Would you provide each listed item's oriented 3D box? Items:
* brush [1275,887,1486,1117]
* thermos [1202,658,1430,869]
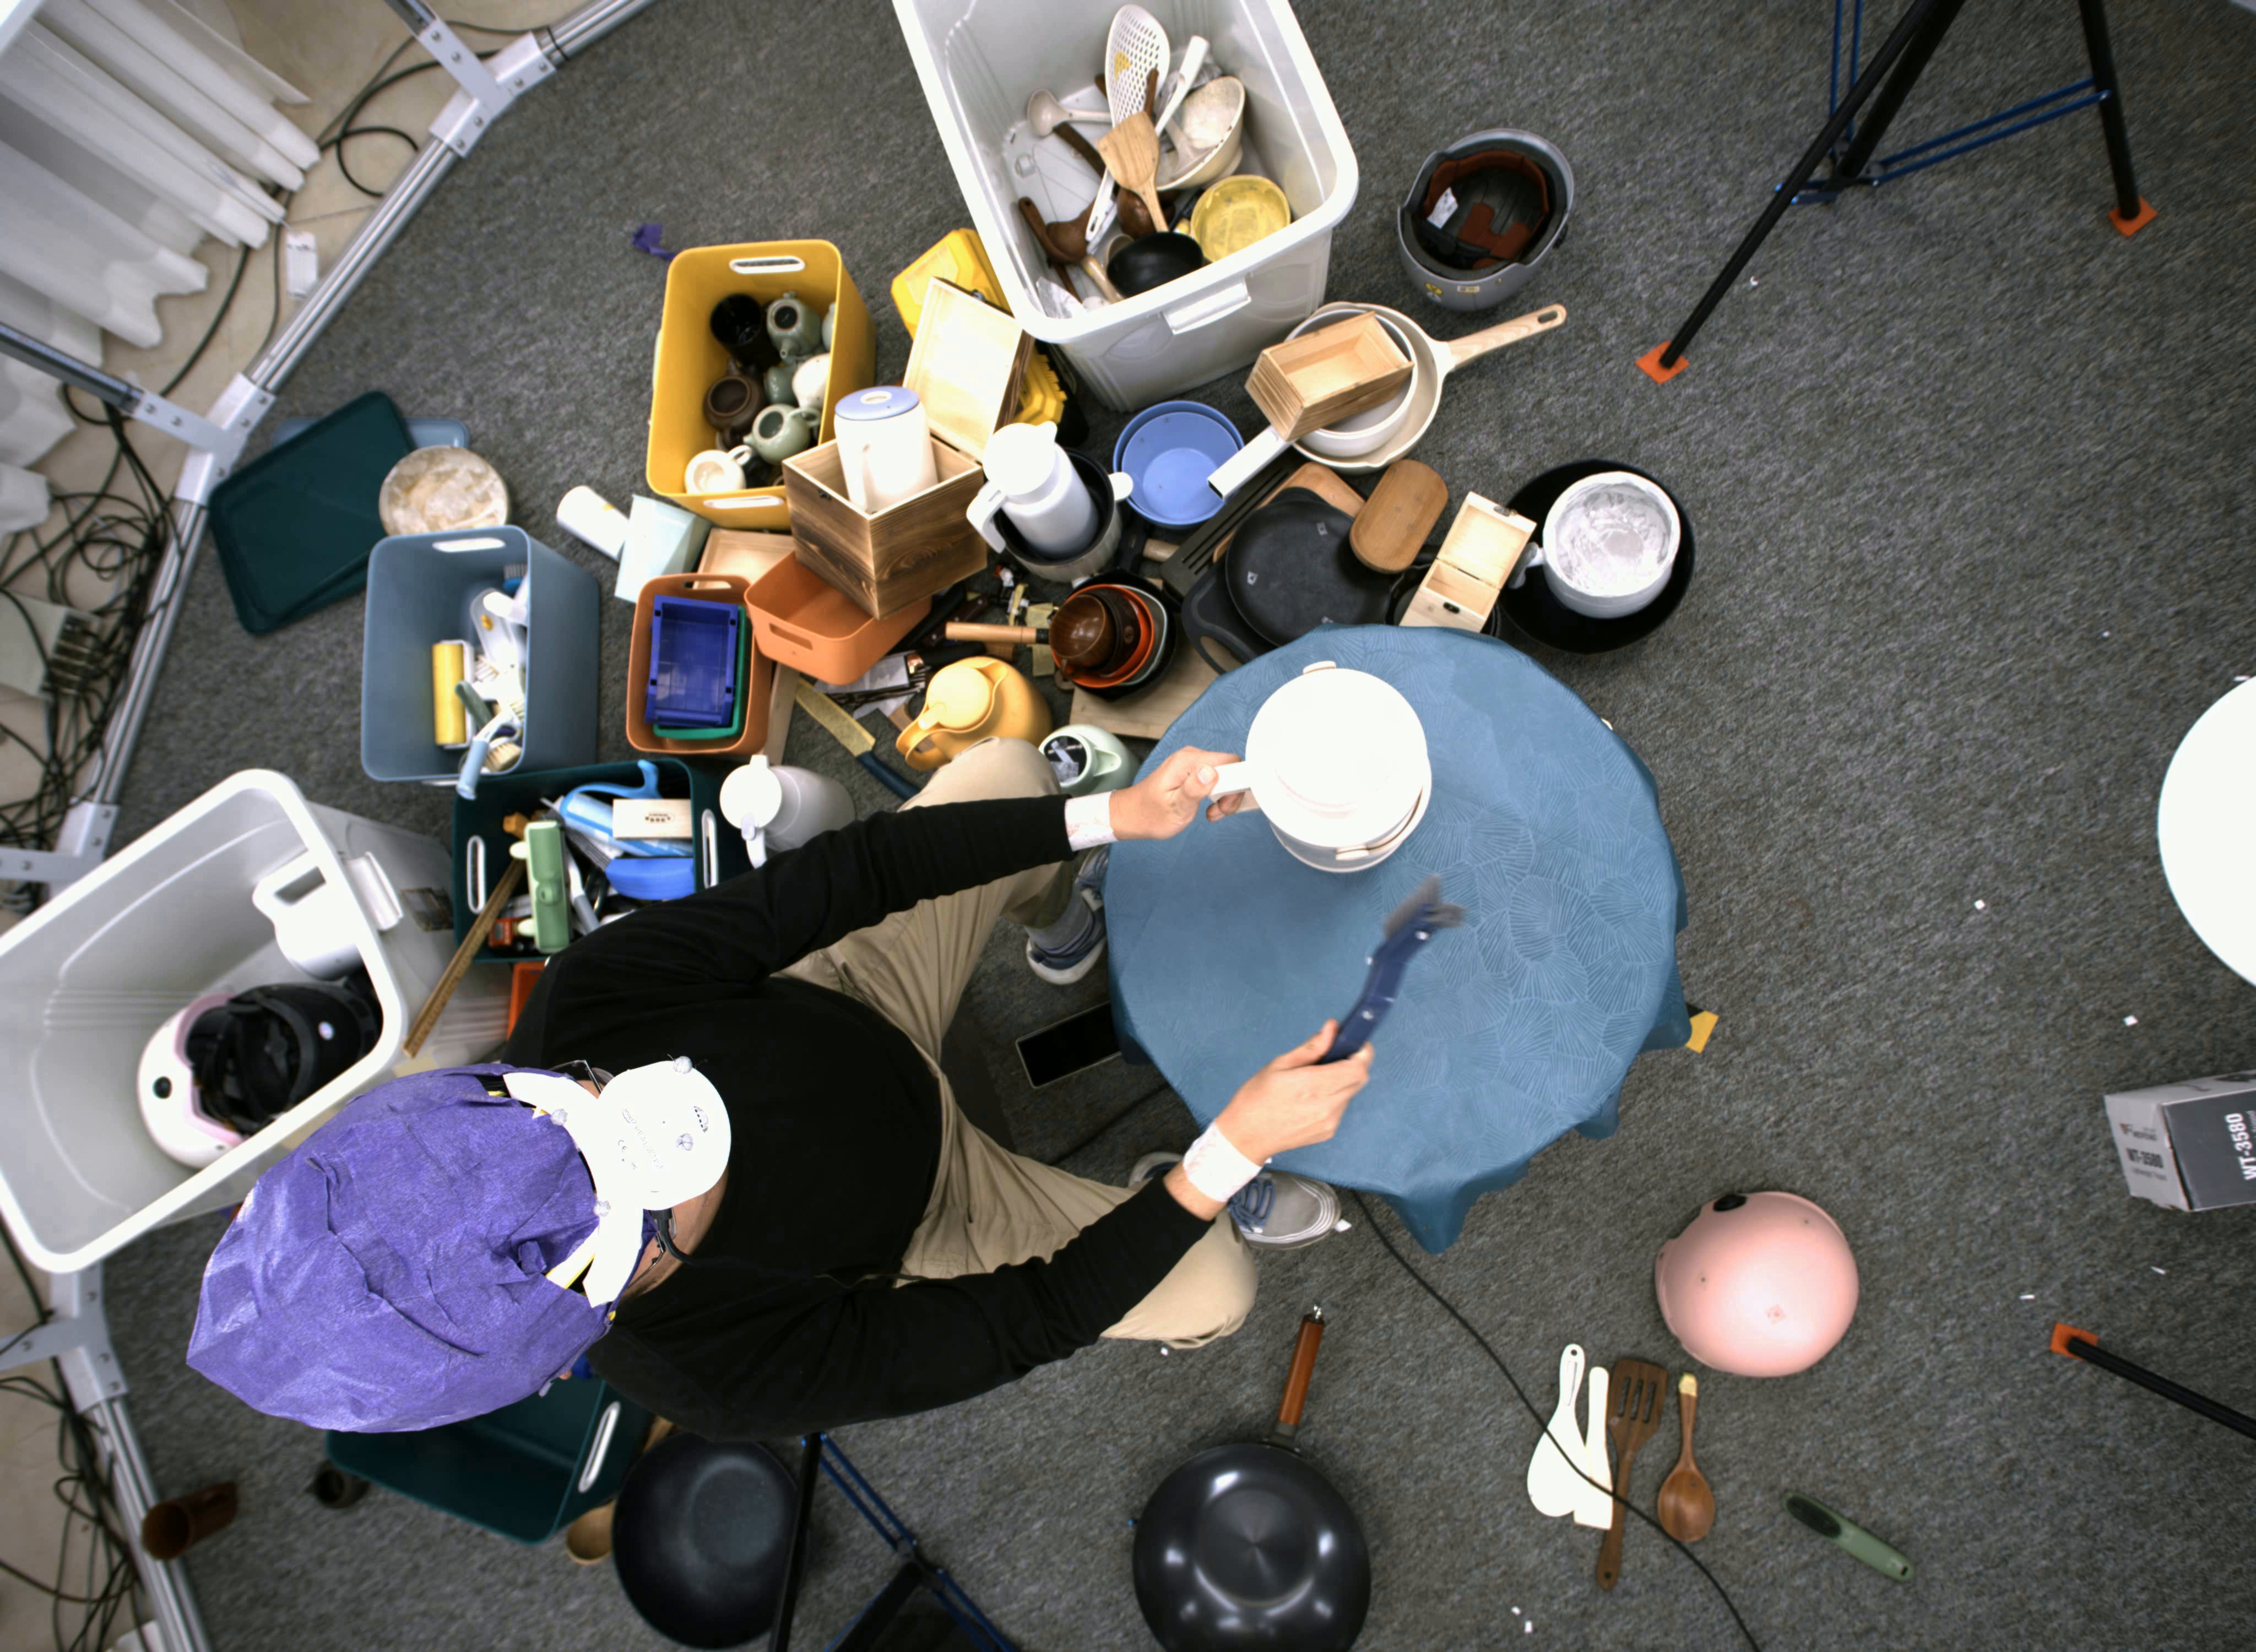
[{"bbox_3d":[0.209,0.164,1.177,0.033,0.093,0.279,18,117,-18],"label":"brush"},{"bbox_3d":[0.179,-0.051,1.283,0.208,0.406,0.174,-11,84,8],"label":"thermos"}]
